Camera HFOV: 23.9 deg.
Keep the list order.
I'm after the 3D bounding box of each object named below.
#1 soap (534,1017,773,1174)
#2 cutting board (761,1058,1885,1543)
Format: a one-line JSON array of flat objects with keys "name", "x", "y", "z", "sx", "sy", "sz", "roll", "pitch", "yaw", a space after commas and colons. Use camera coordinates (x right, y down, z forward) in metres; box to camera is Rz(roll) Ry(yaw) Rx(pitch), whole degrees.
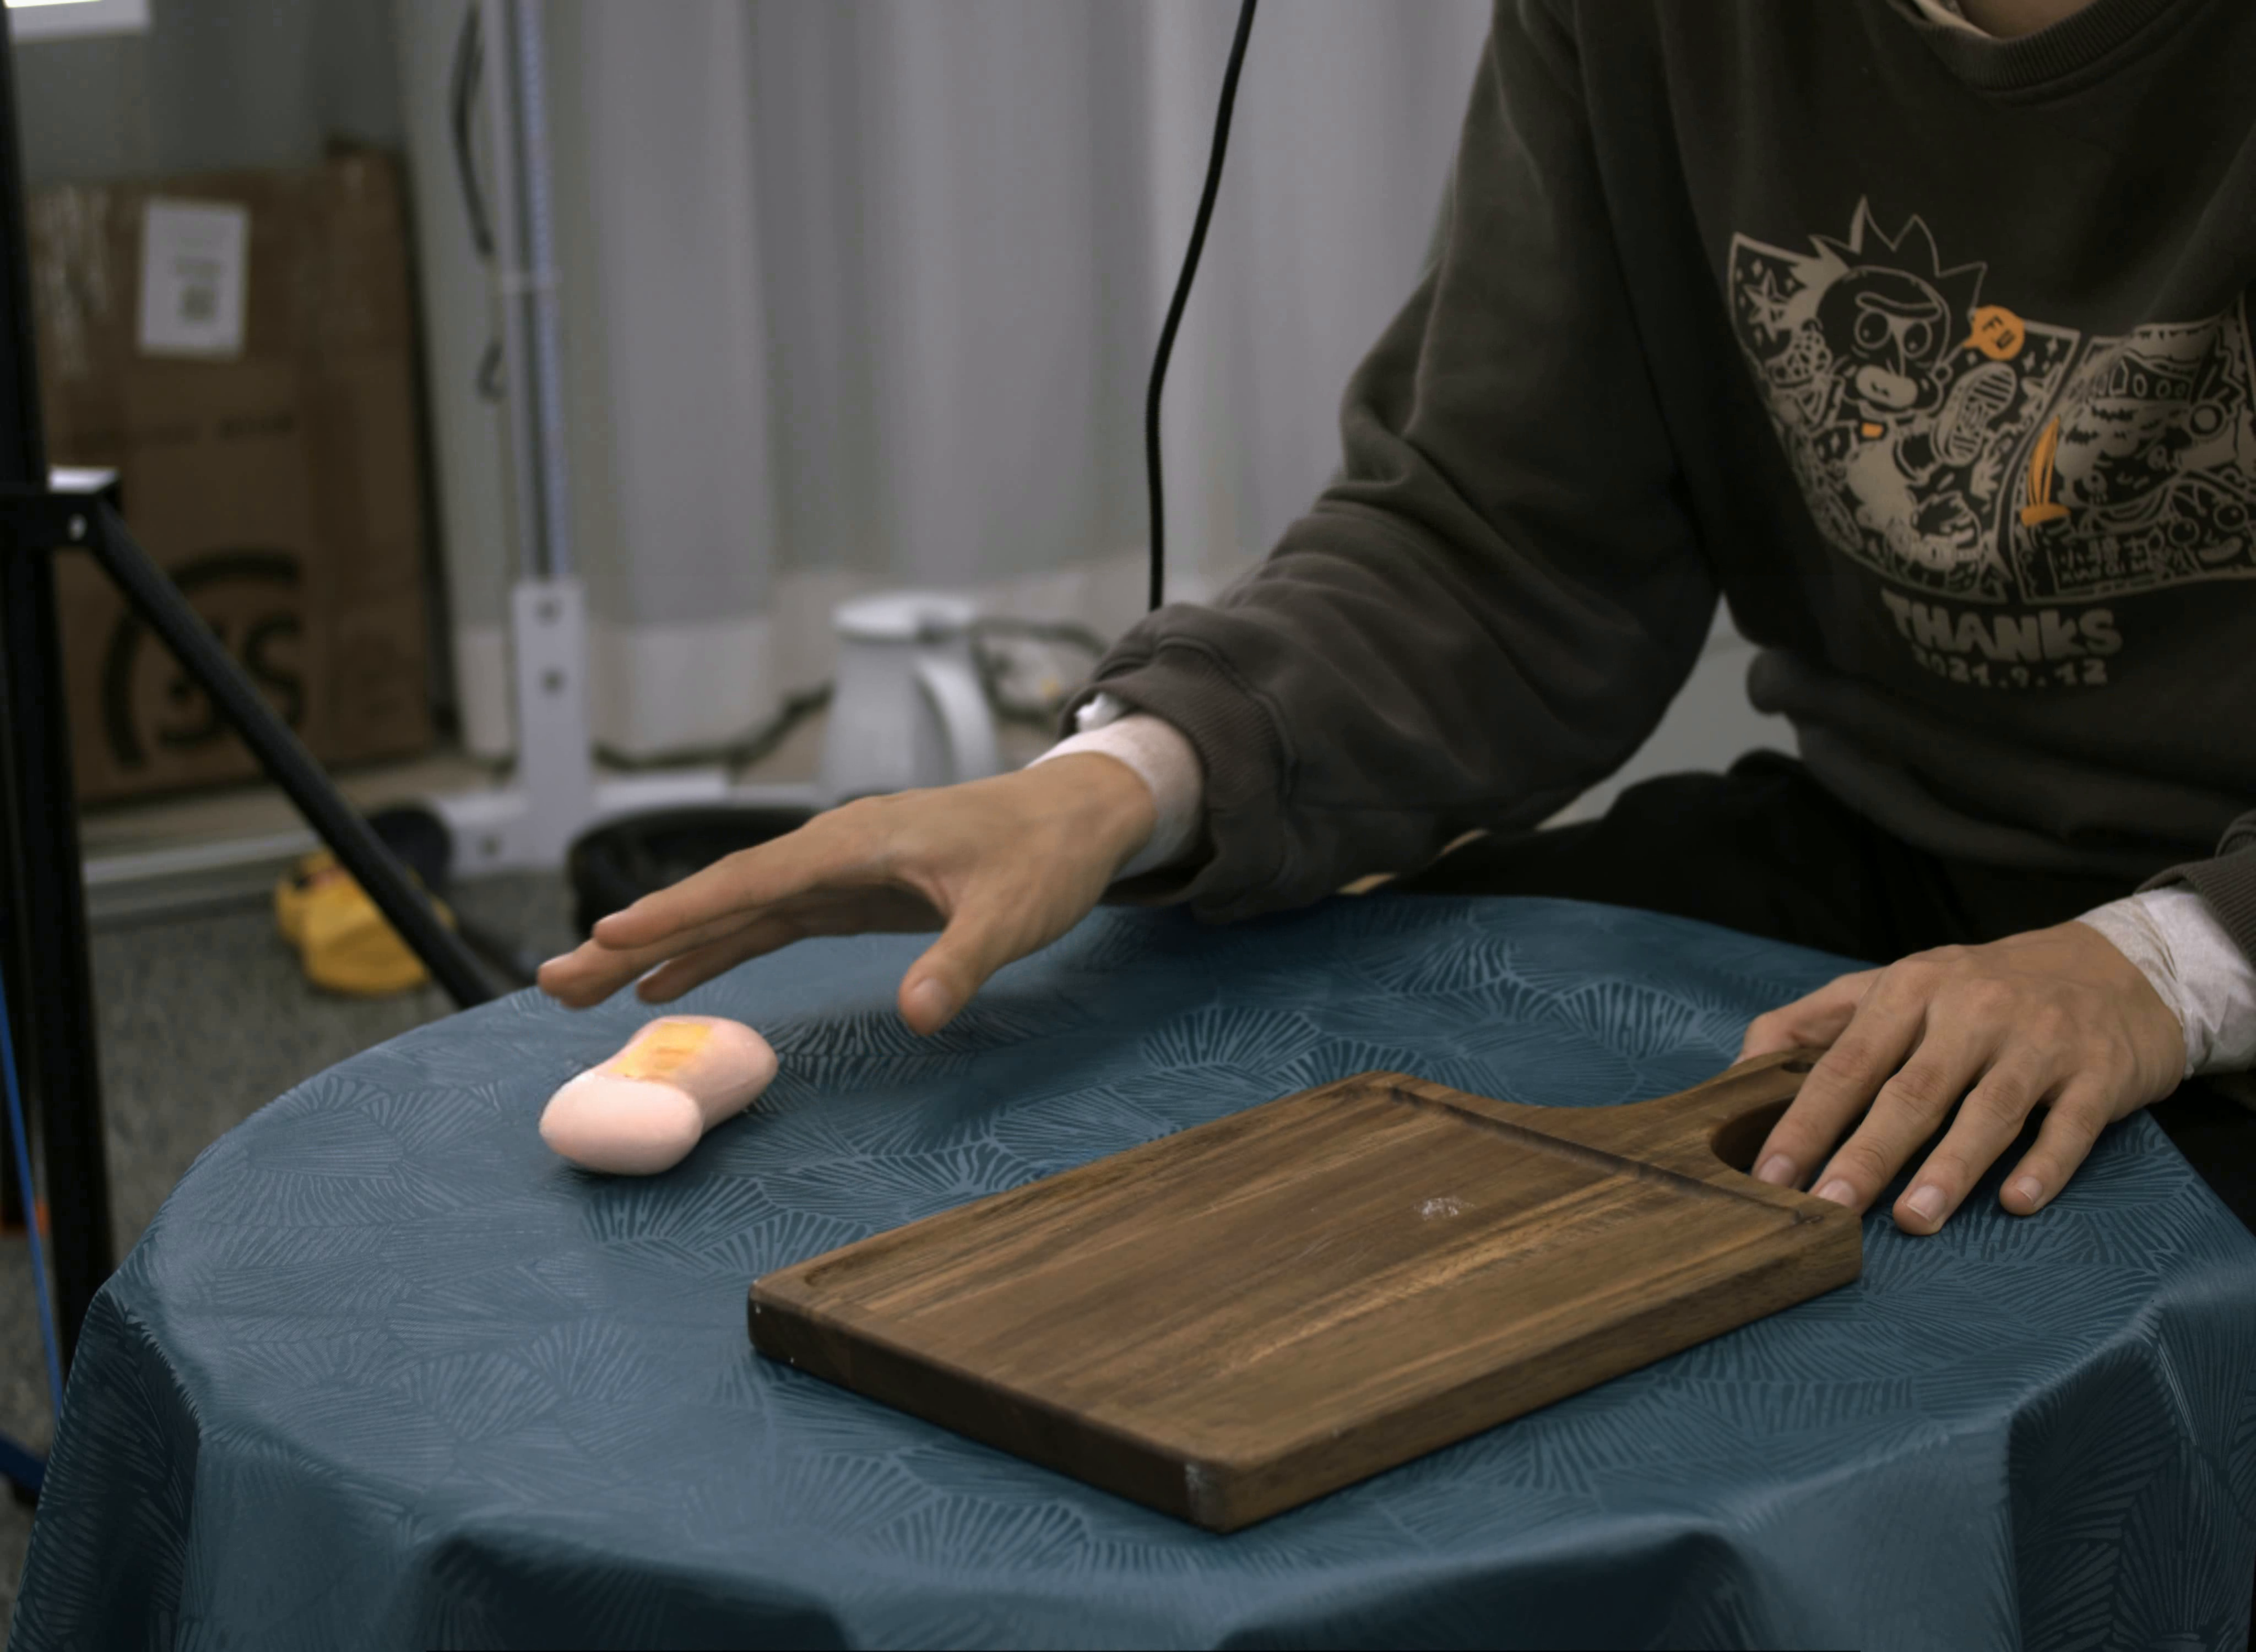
[{"name": "soap", "x": -0.144, "y": 0.082, "z": 1.627, "sx": 0.051, "sy": 0.030, "sz": 0.093, "roll": 4, "pitch": 15, "yaw": 19}, {"name": "cutting board", "x": 0.091, "y": 0.117, "z": 1.477, "sx": 0.344, "sy": 0.023, "sz": 0.206, "roll": -15, "pitch": 20, "yaw": -38}]
